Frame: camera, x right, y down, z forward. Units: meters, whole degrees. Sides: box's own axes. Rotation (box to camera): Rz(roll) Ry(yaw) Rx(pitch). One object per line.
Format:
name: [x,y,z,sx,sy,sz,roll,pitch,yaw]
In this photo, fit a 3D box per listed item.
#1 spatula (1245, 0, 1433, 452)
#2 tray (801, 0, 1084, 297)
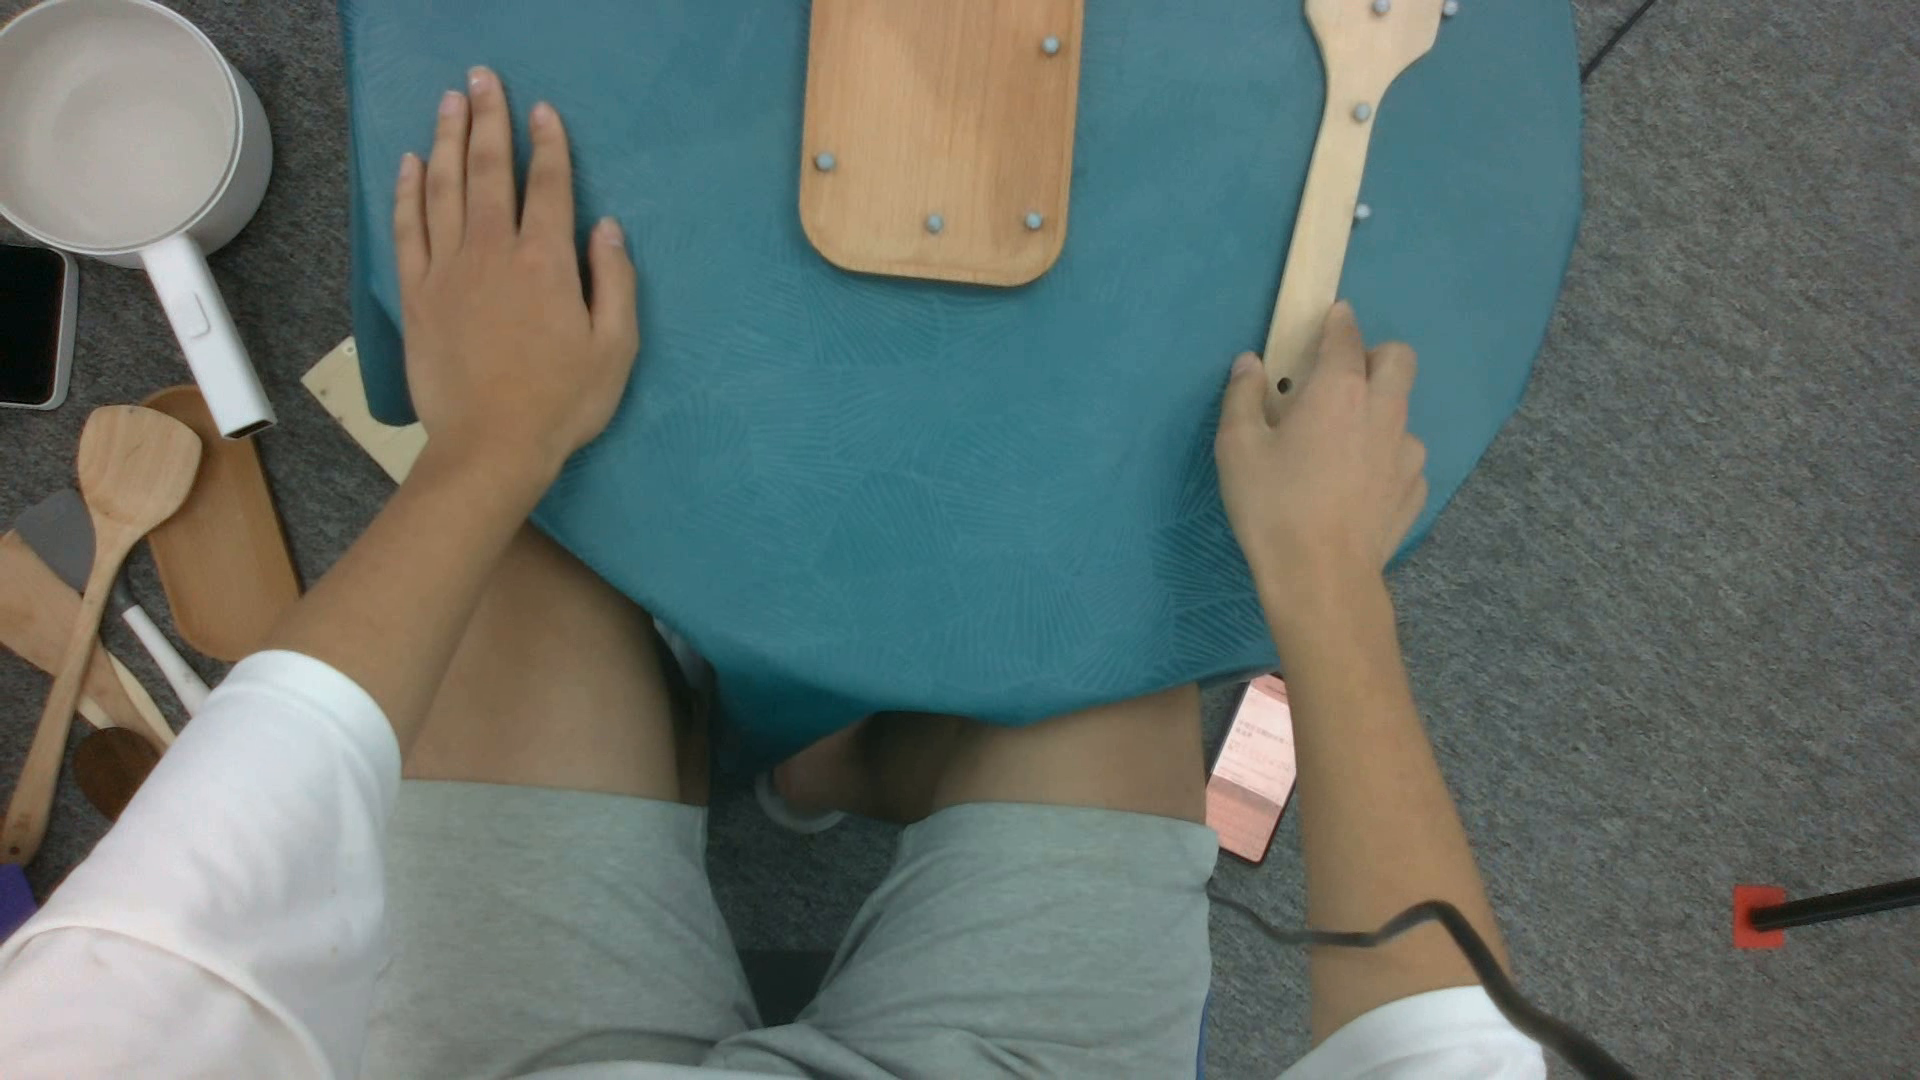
spatula: [0.186,-0.186,0.695,0.072,0.010,0.293,13,85,-6]
tray: [-0.006,-0.246,0.673,0.130,0.023,0.251,5,87,-9]
